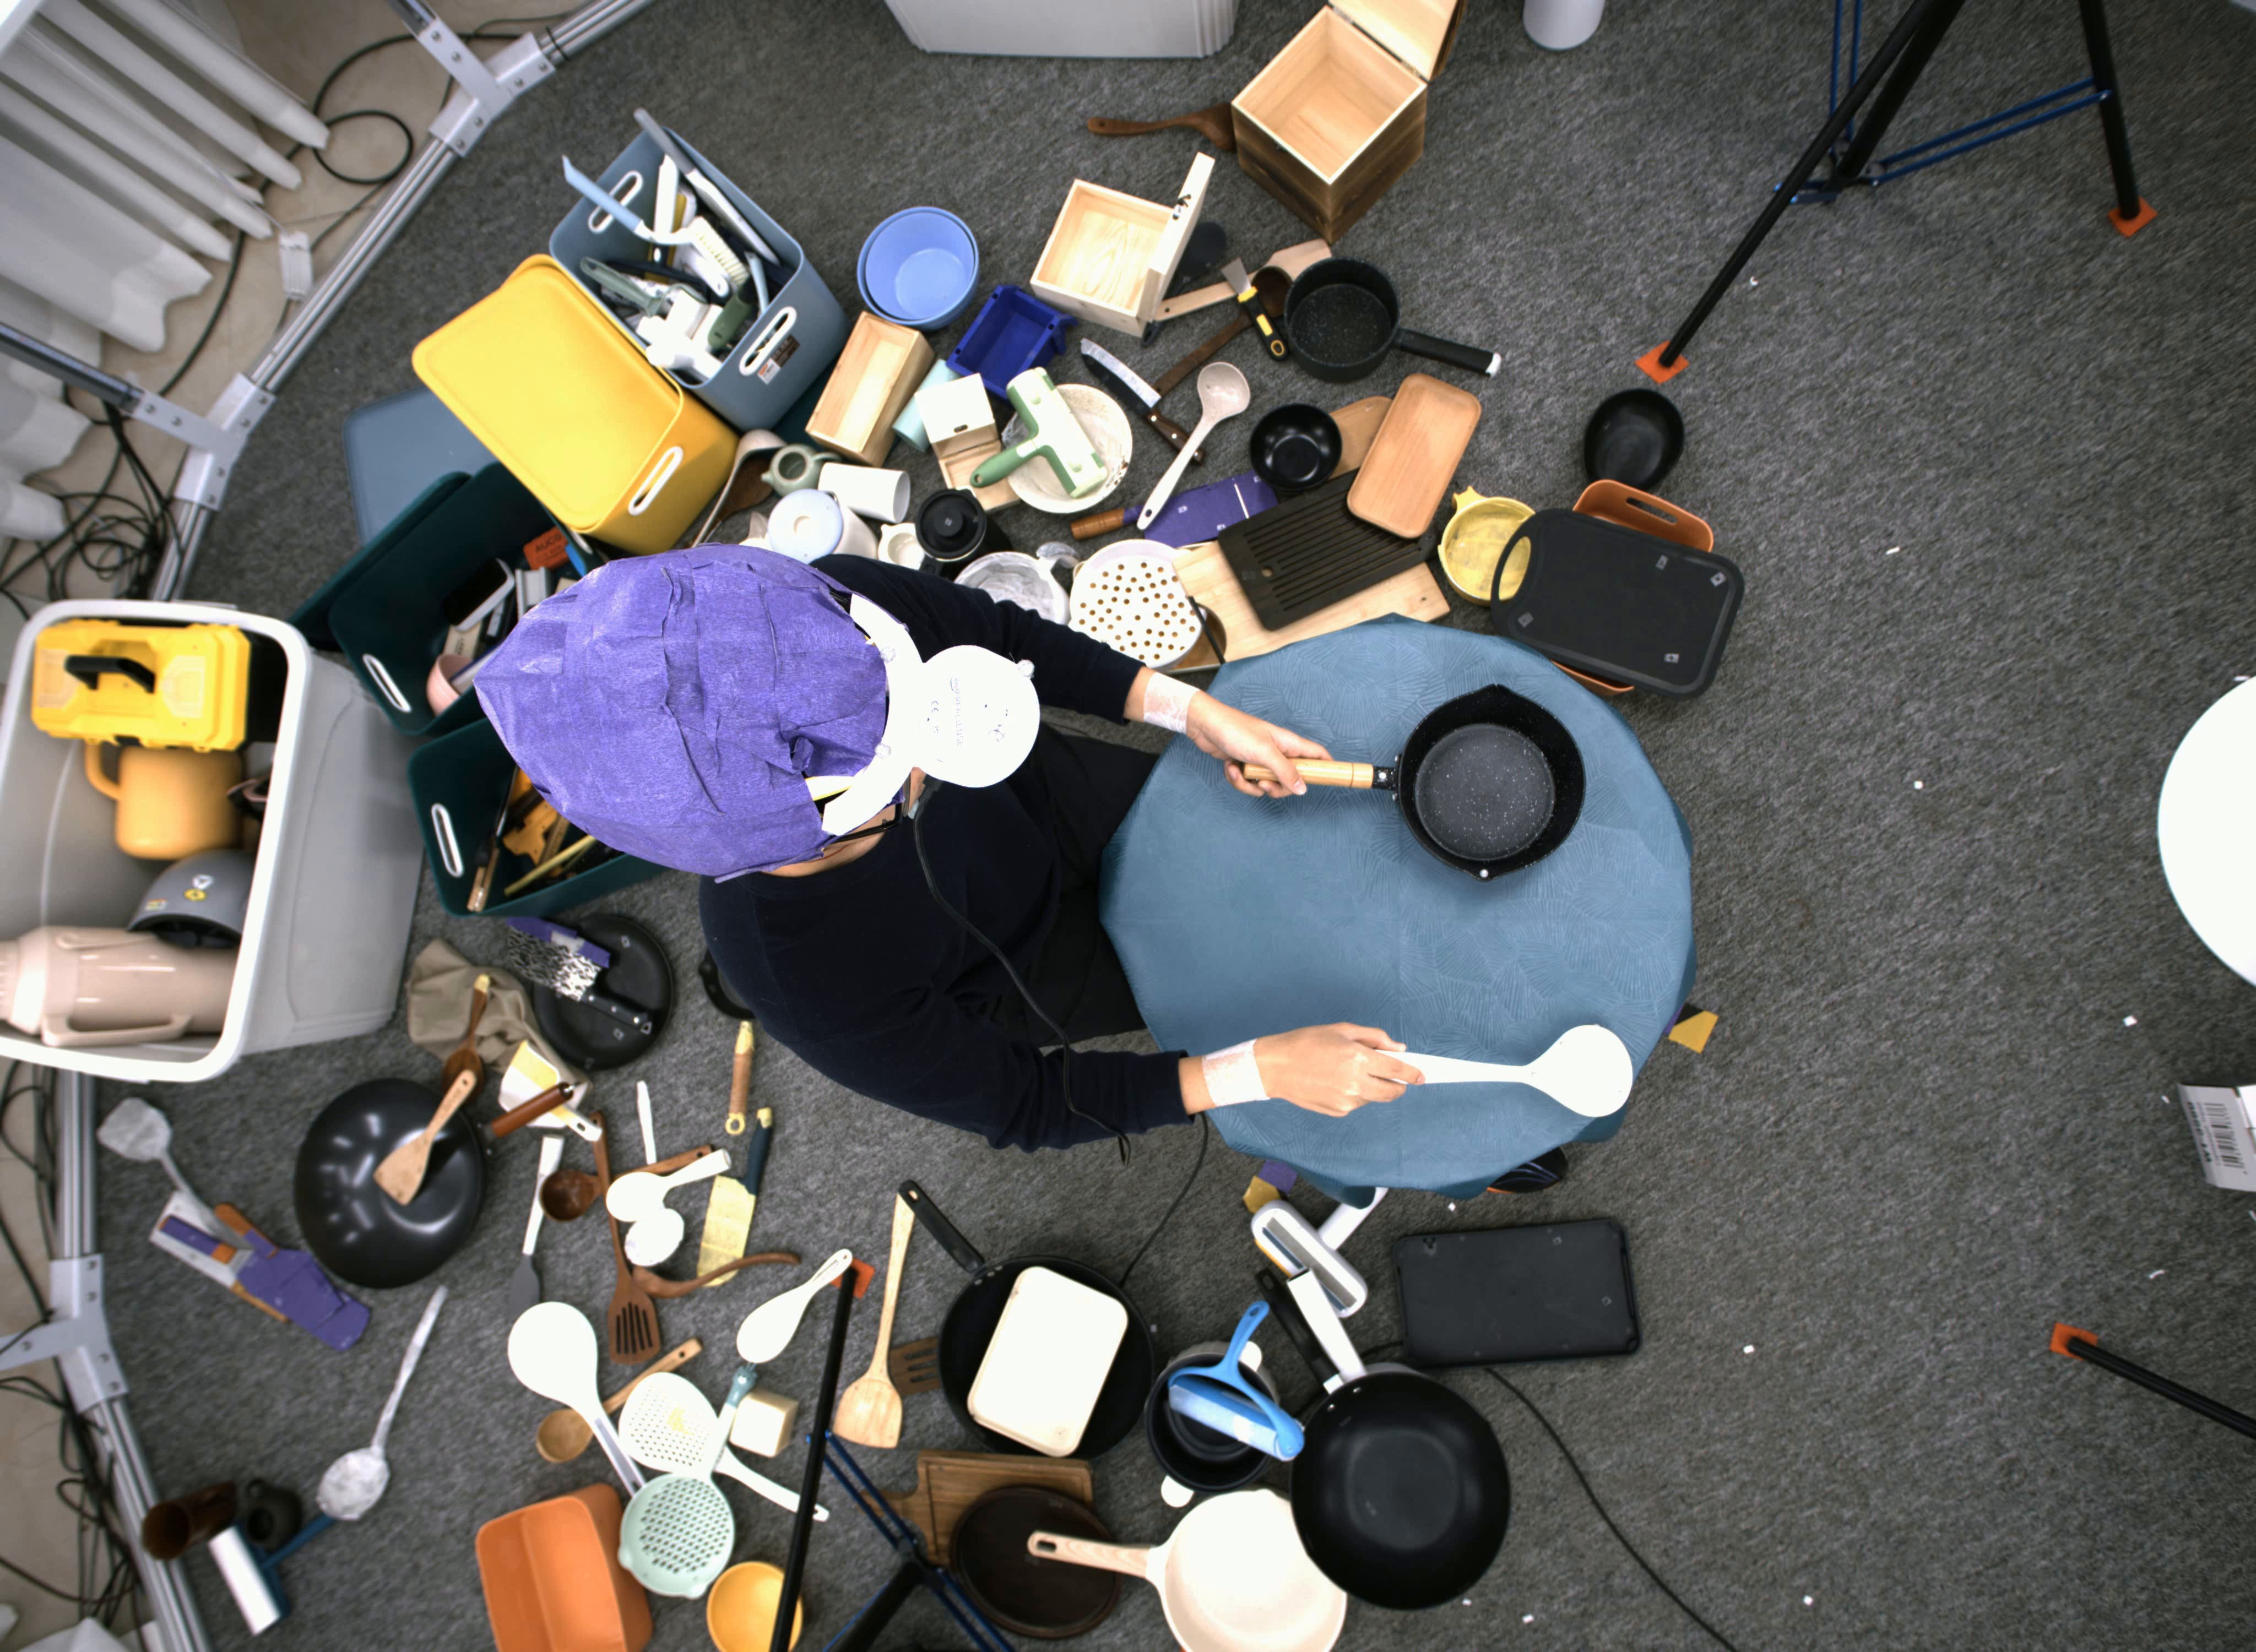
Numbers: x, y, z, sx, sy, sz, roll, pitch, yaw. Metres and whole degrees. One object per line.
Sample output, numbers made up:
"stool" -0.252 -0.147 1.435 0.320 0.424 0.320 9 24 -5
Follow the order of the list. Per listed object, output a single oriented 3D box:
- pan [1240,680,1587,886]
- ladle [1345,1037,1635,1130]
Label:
"pan" 0.288 -0.046 1.408 0.344 0.108 0.207 3 88 9
"ladle" 0.350 0.238 1.320 0.292 0.071 0.089 7 77 -23
